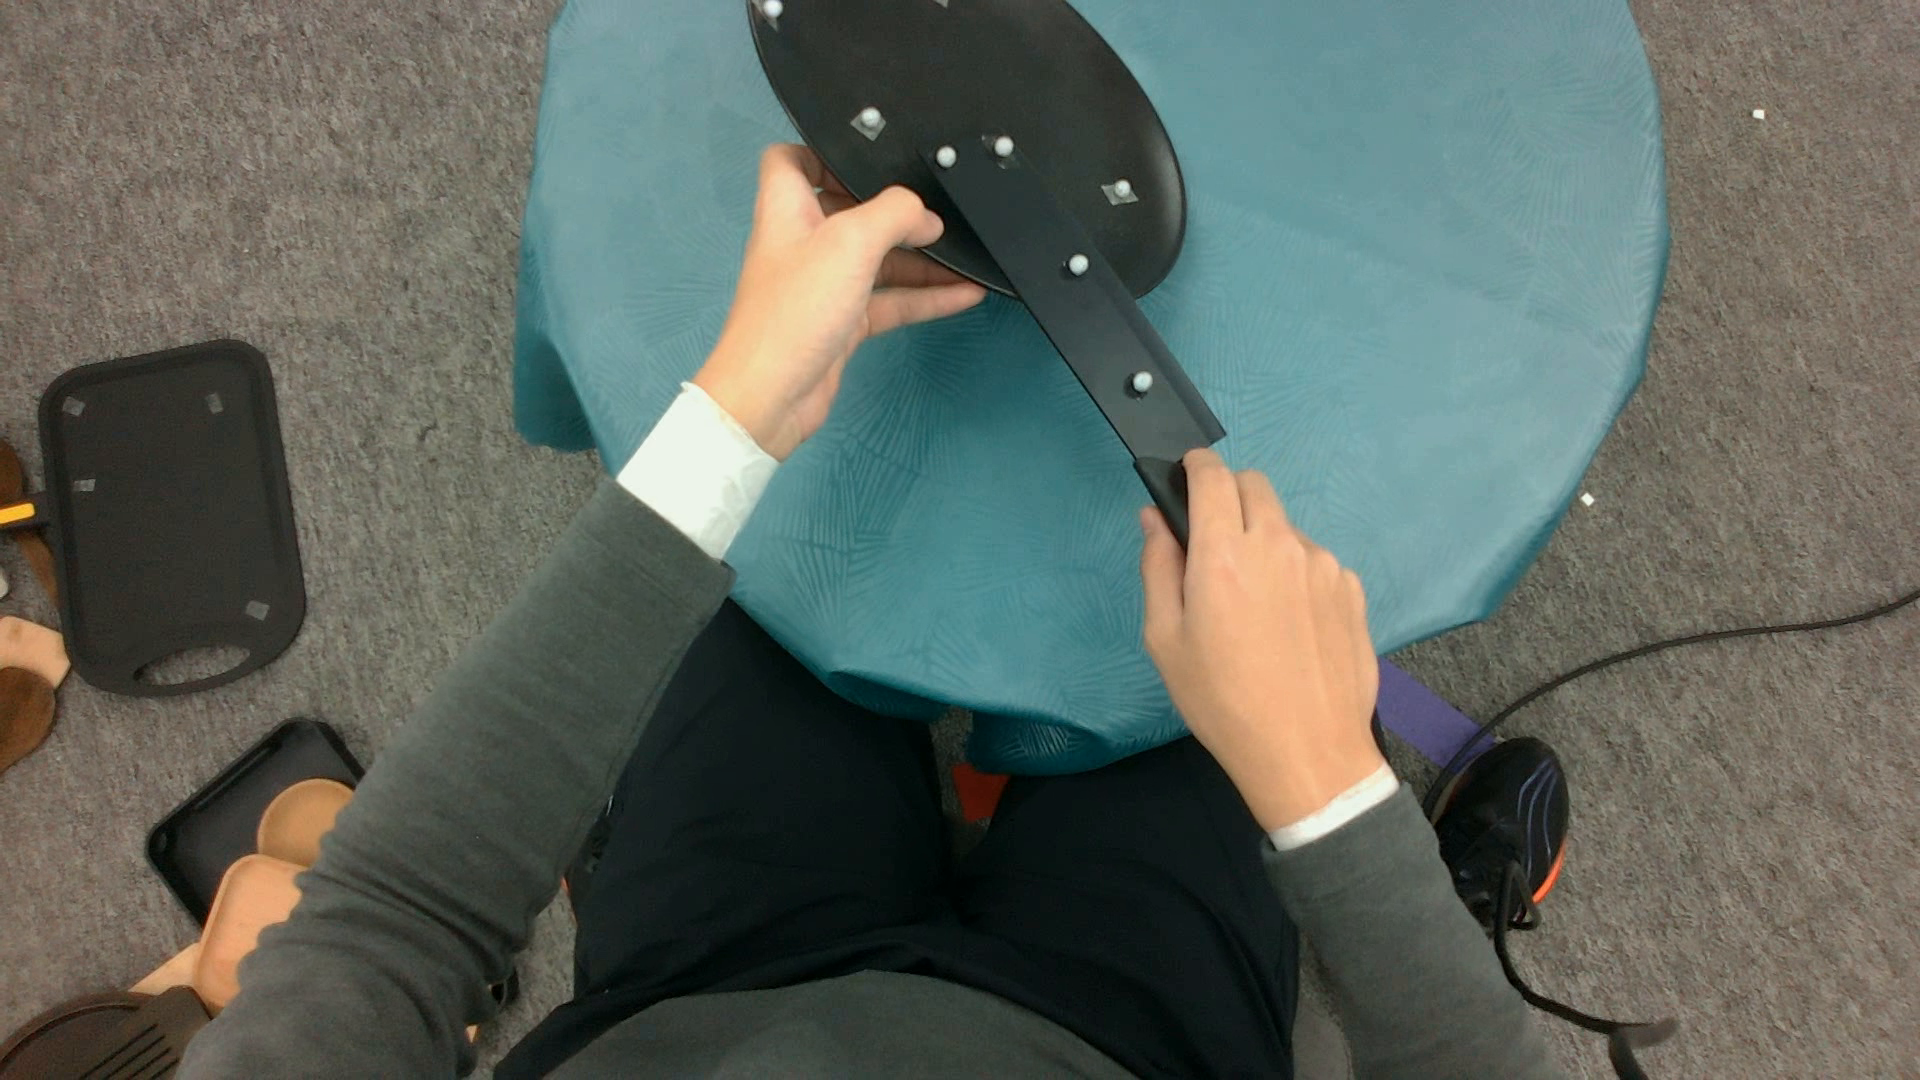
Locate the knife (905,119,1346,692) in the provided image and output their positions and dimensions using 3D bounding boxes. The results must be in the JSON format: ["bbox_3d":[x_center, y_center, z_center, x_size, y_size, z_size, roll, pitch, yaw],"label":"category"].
[{"bbox_3d":[0.077,-0.063,0.605,0.081,0.021,0.302,-24,79,-42],"label":"knife"}]

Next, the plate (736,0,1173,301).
[{"bbox_3d":[0.001,-0.210,0.661,0.244,0.023,0.245,19,51,-26],"label":"plate"}]
